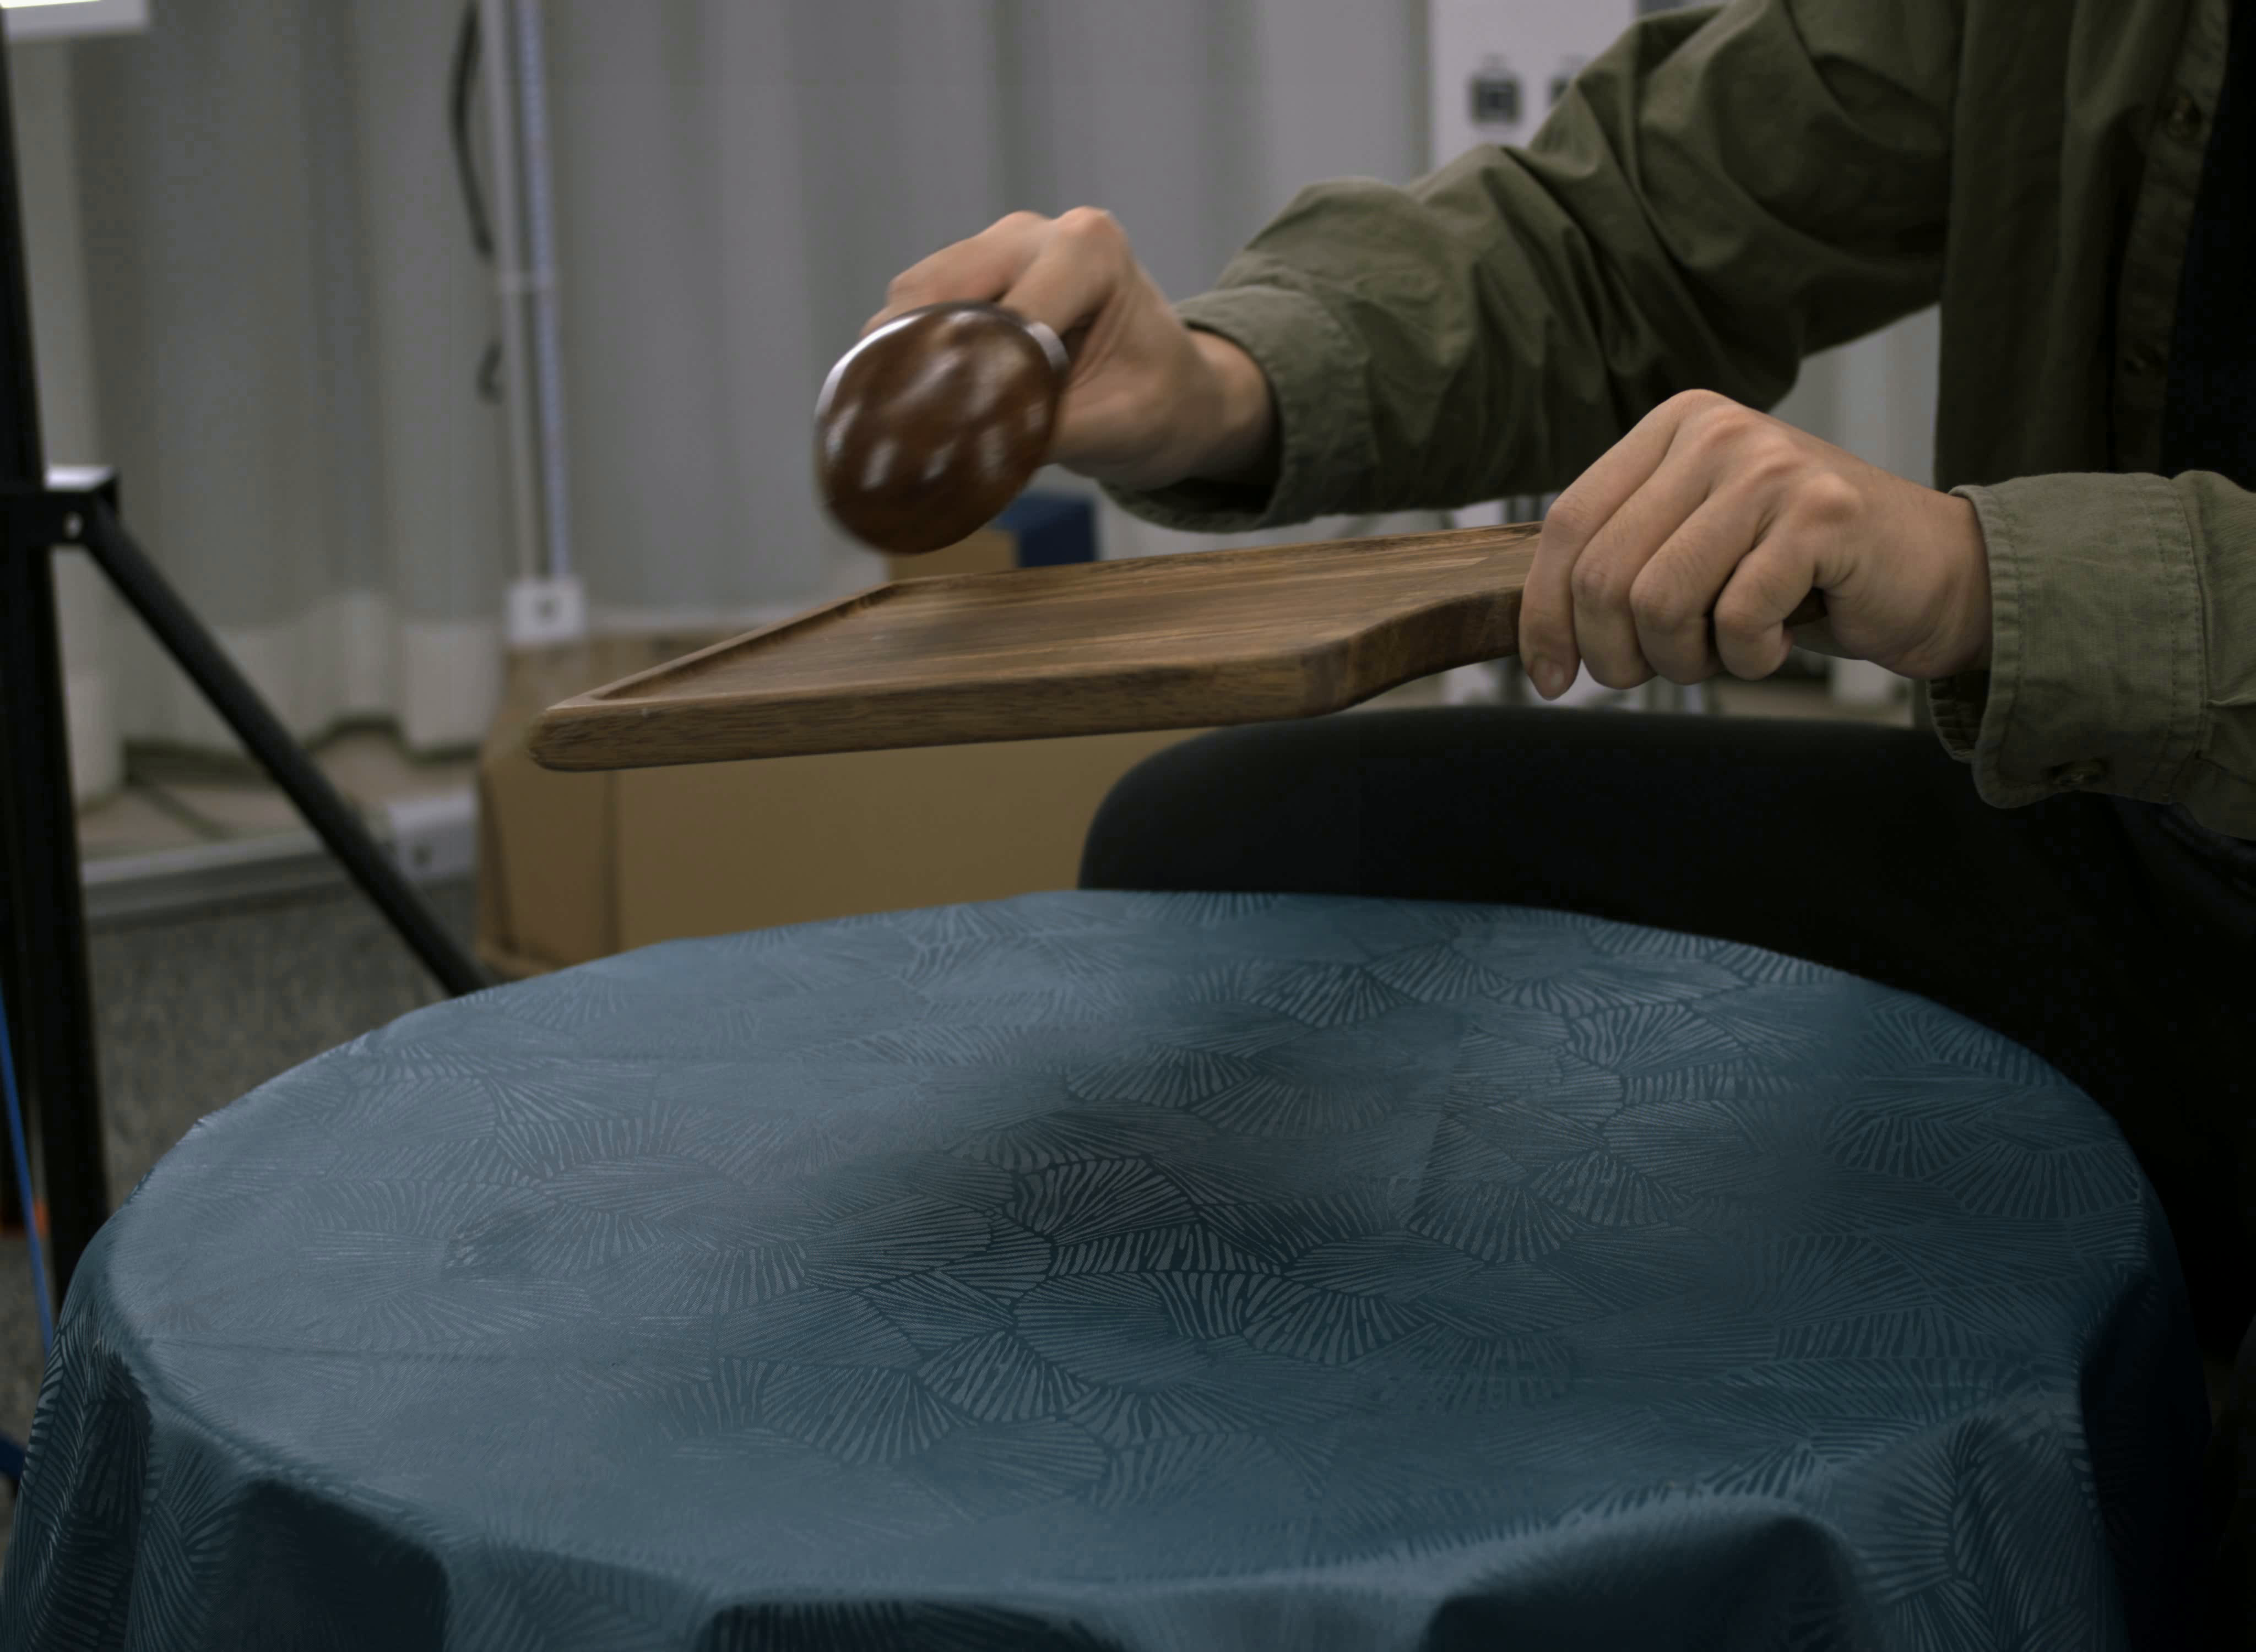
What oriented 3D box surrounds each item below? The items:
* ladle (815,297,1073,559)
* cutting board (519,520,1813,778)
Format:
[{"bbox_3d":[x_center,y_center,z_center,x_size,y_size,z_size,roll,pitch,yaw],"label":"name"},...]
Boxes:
[{"bbox_3d":[-0.041,-0.112,1.619,0.082,0.077,0.272,-37,-7,5],"label":"ladle"},{"bbox_3d":[0.024,-0.052,1.477,0.358,0.023,0.197,-3,12,32],"label":"cutting board"}]
